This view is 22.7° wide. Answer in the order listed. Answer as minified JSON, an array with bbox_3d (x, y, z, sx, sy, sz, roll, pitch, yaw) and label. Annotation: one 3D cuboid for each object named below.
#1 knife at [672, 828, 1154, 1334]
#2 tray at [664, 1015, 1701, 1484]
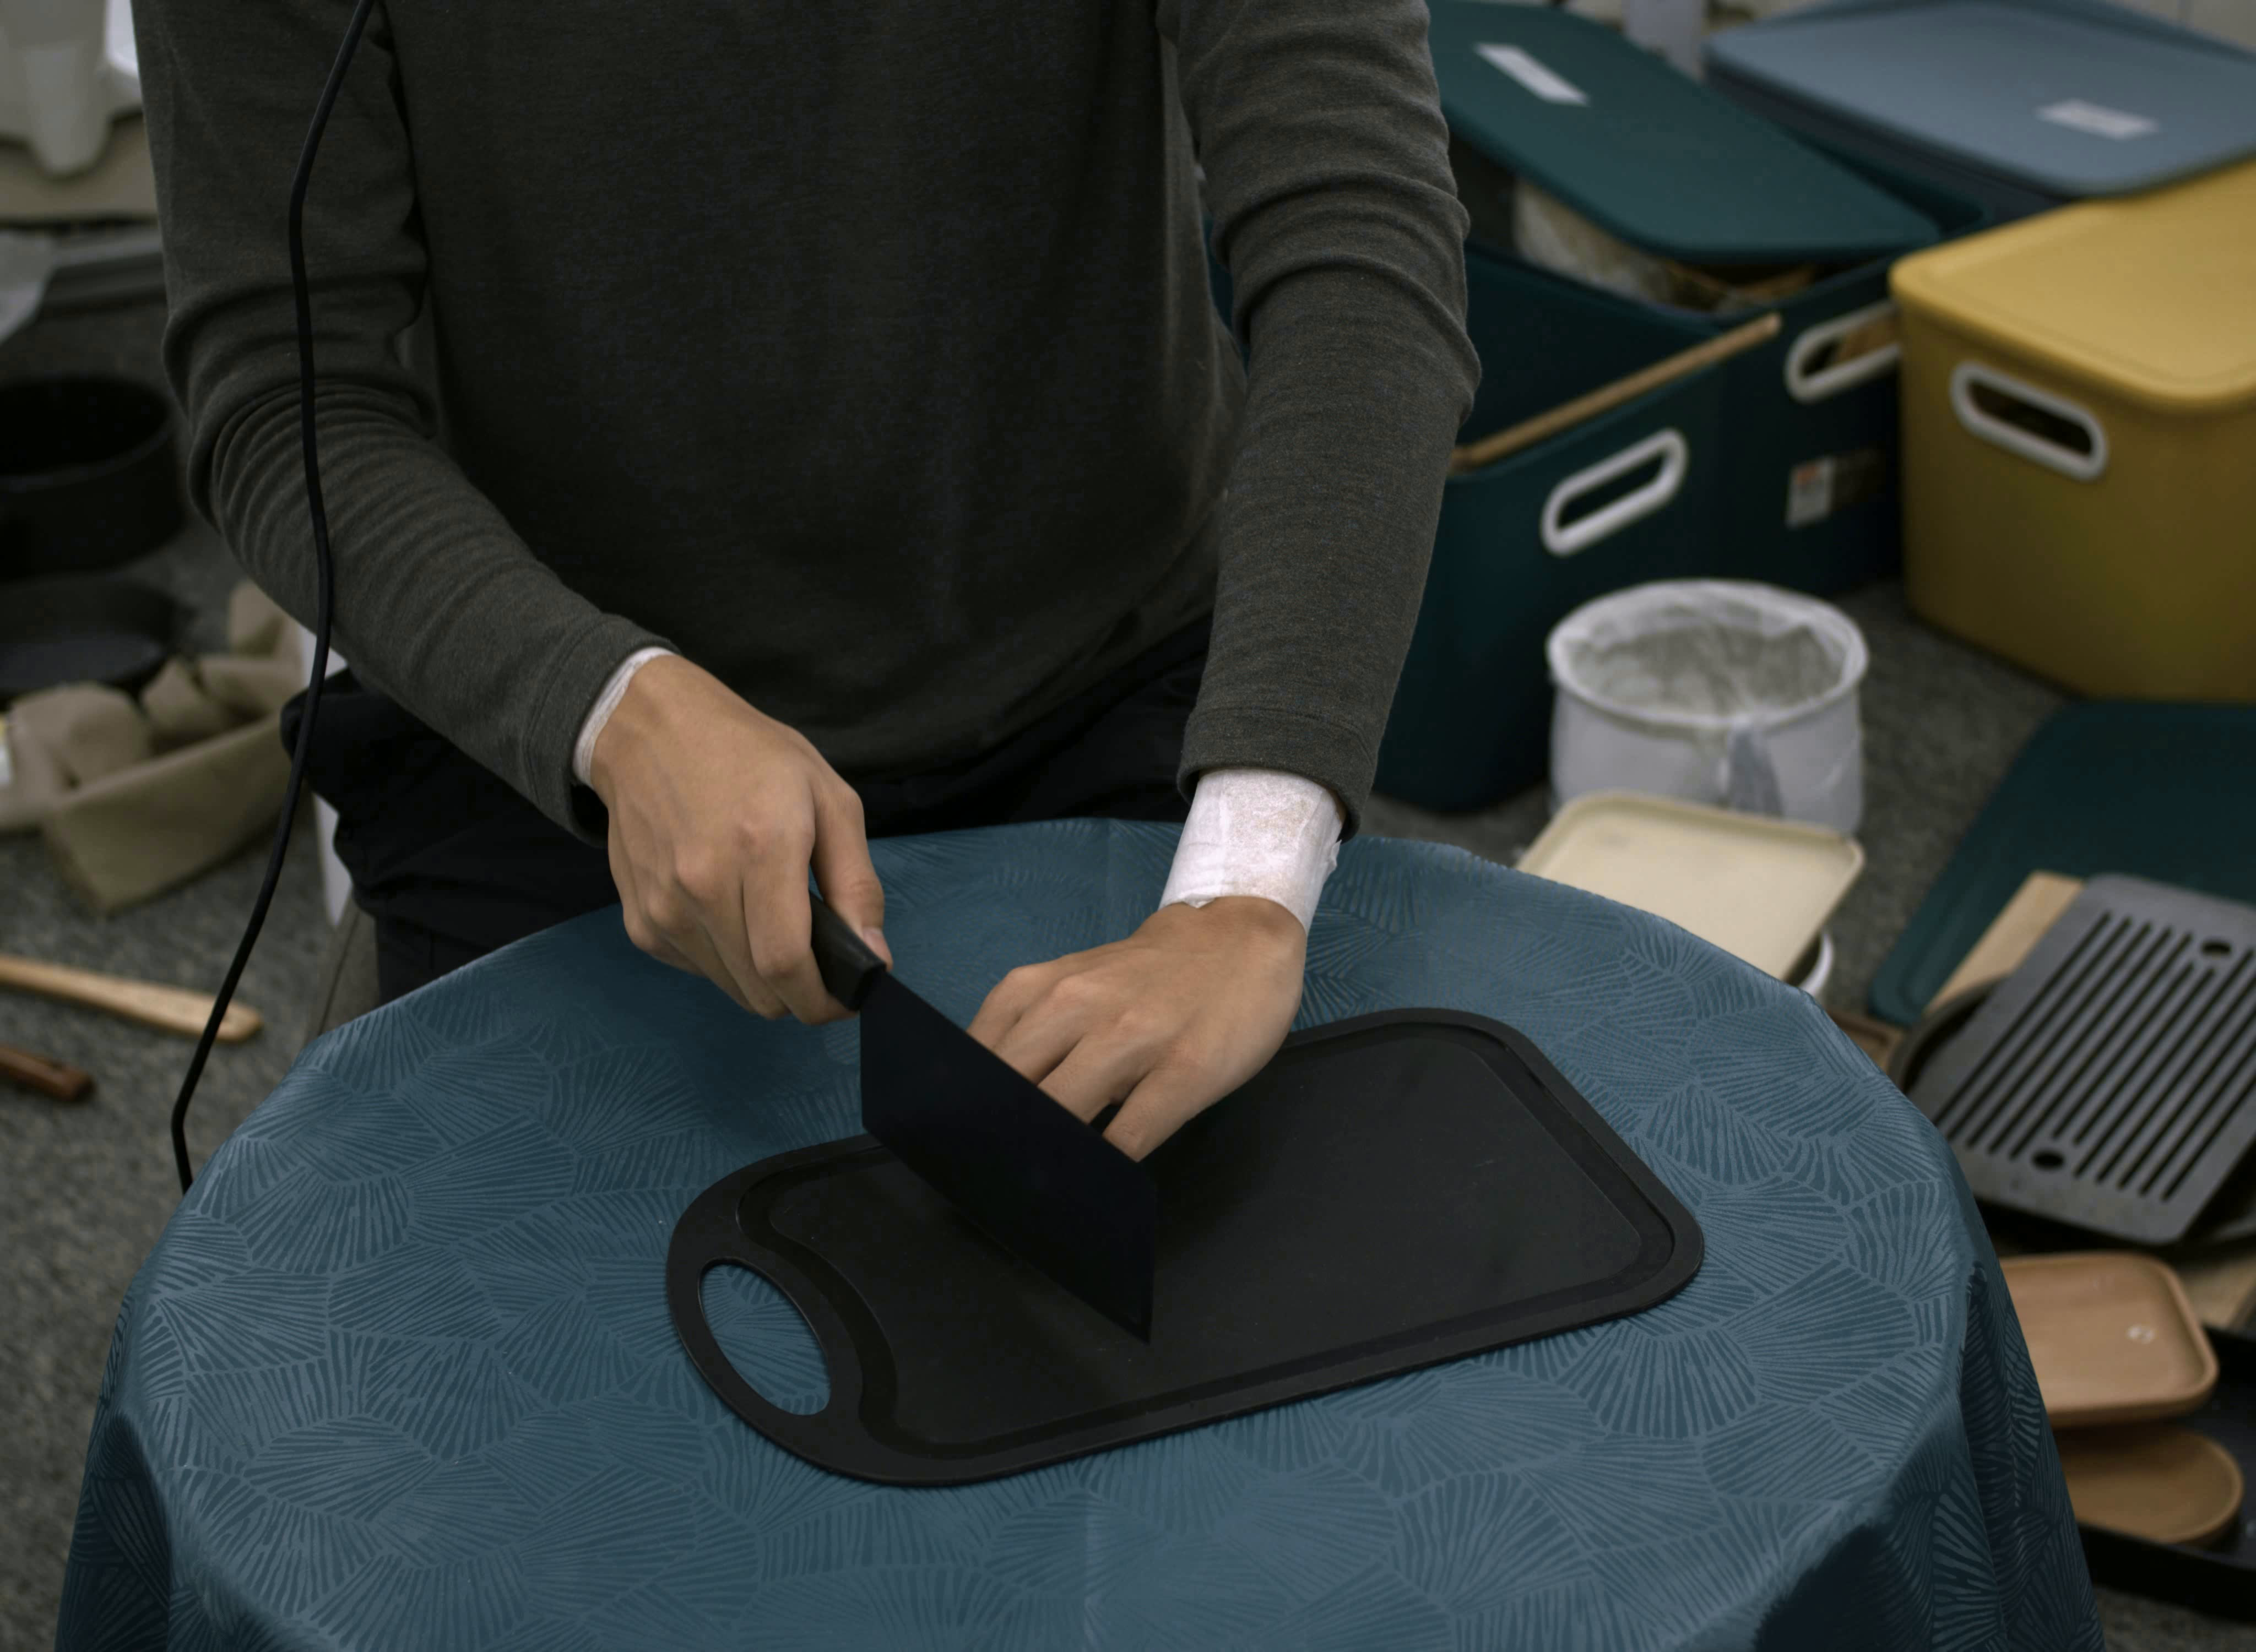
[{"bbox_3d":[-0.072,0.076,1.842,0.021,0.080,0.304,-11,31,-30],"label":"knife"},{"bbox_3d":[0.011,0.134,1.829,0.326,0.009,0.213,-12,28,-17],"label":"tray"}]
